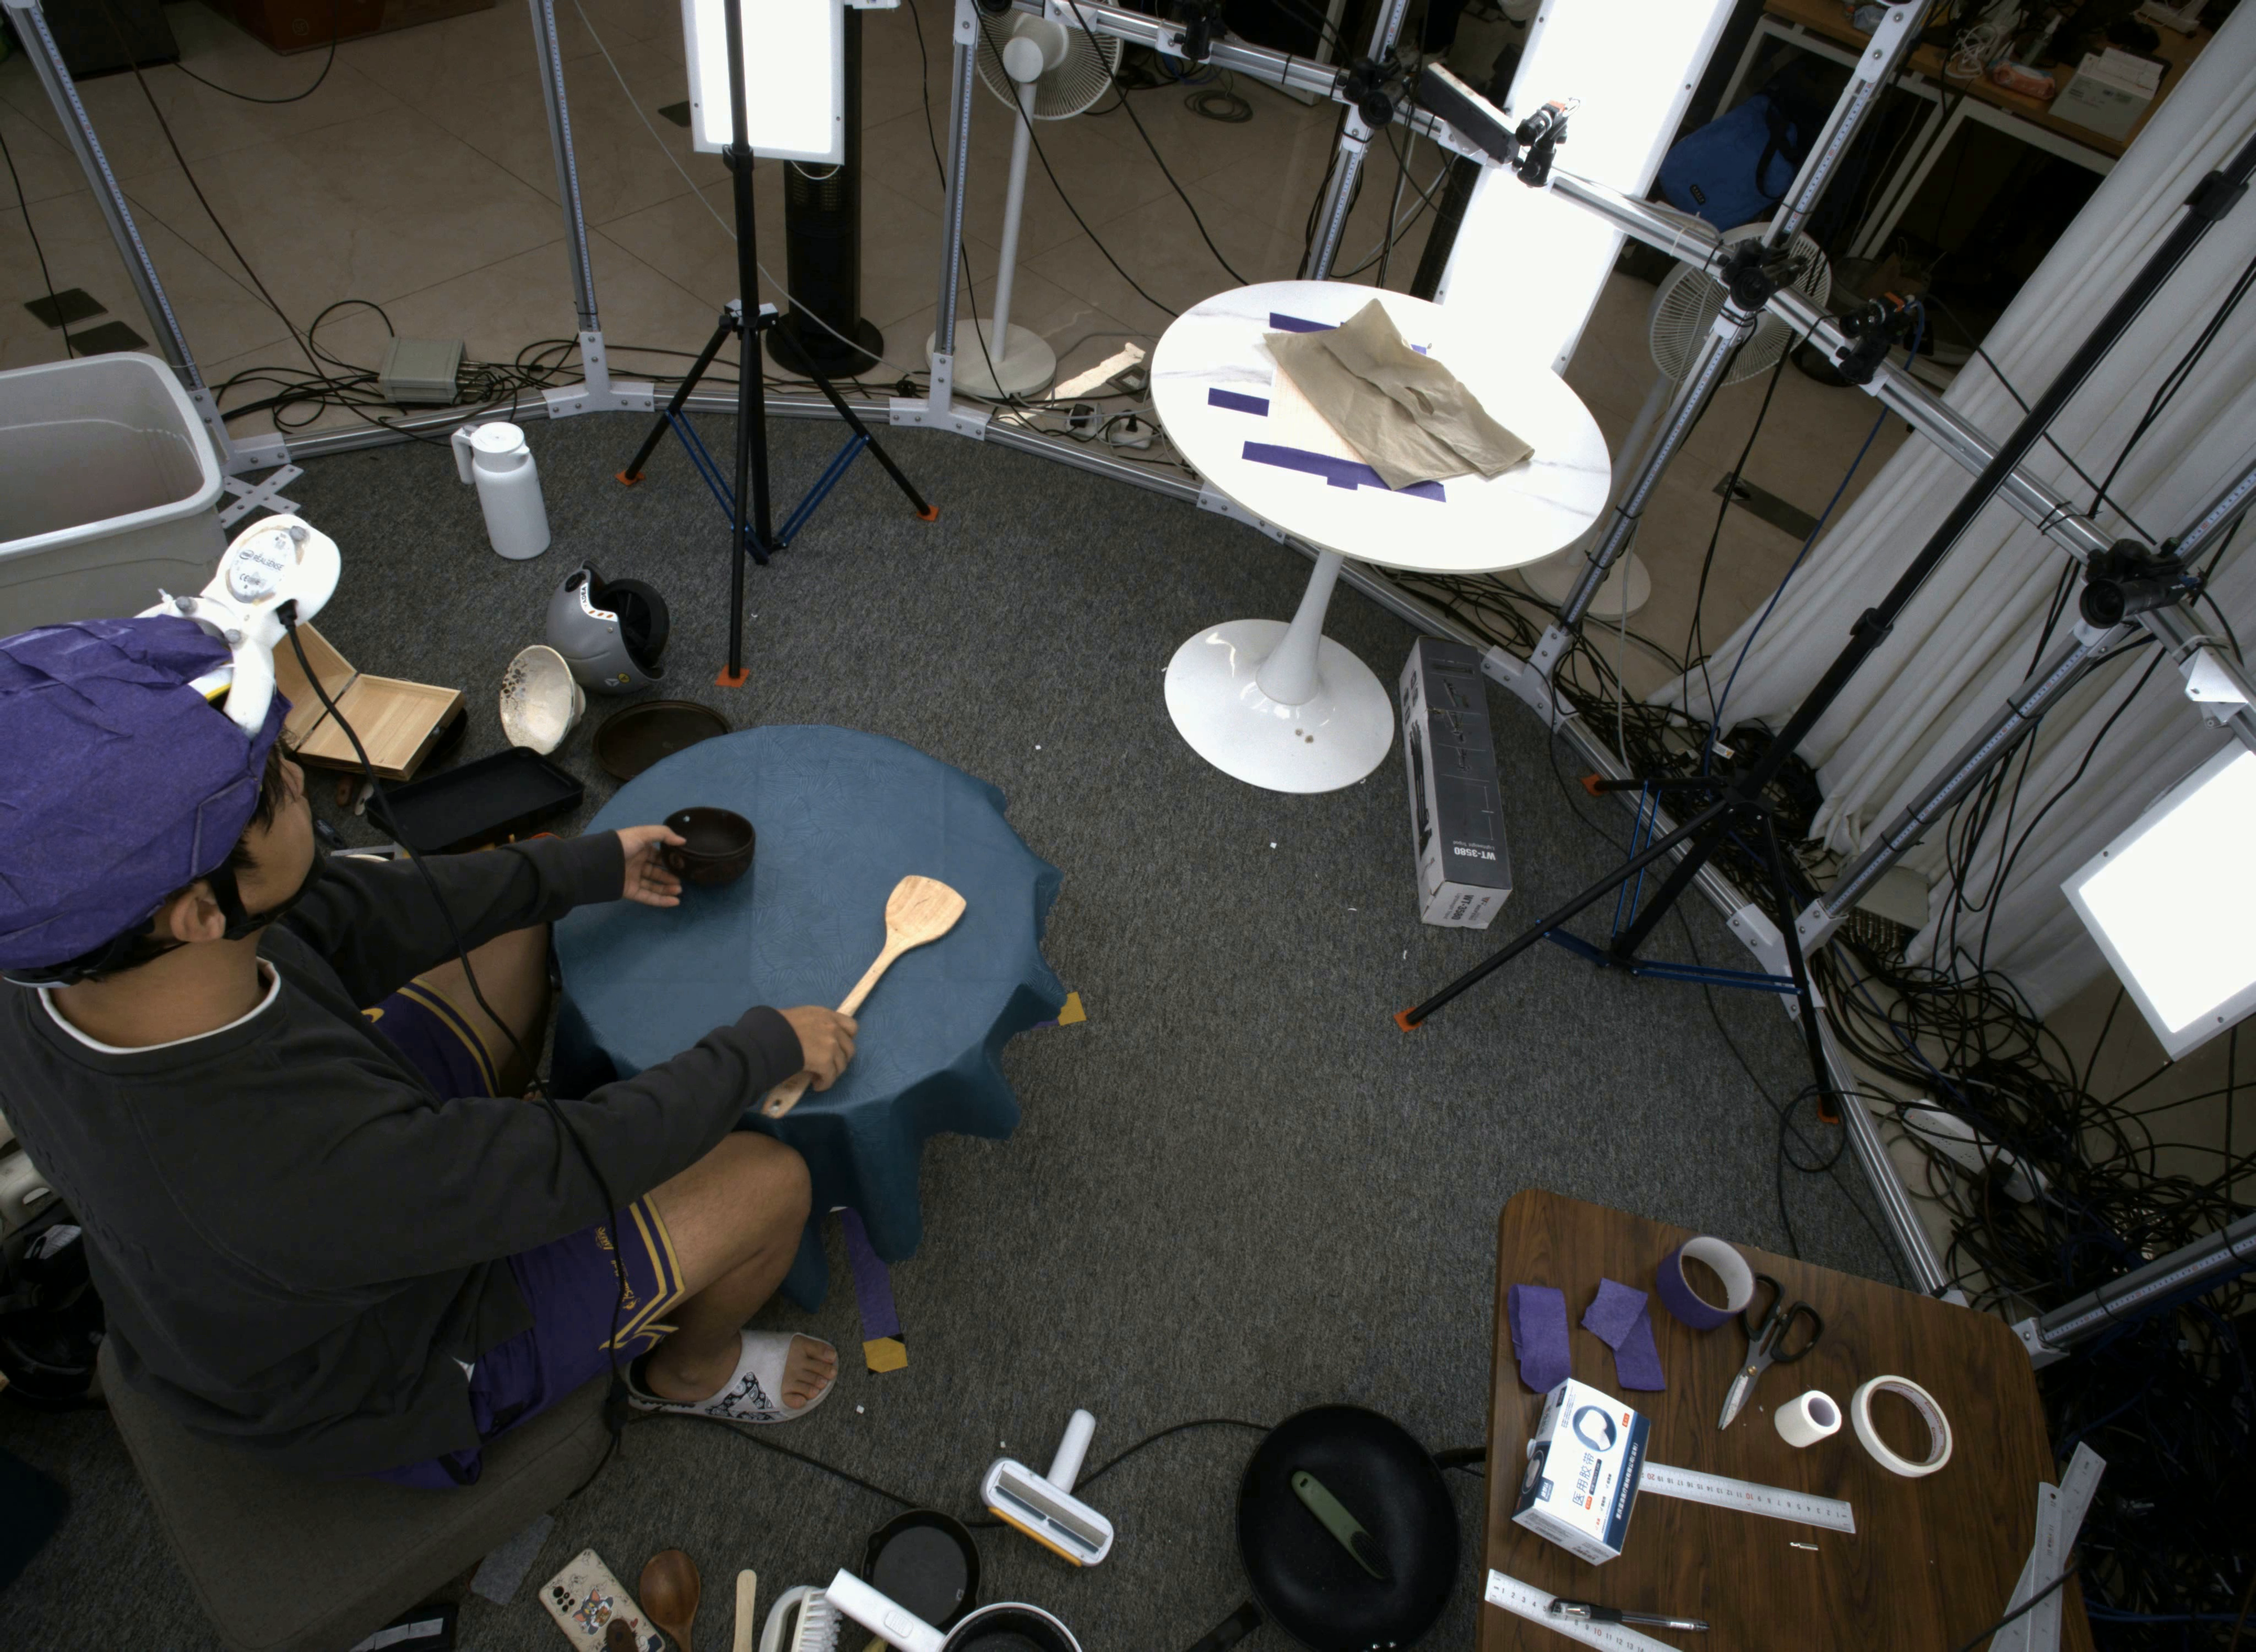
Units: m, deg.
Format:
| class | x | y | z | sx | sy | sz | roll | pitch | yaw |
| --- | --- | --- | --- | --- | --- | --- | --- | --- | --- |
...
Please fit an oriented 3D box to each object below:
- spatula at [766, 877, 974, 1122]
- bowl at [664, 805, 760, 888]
| class | x | y | z | sx | sy | sz | roll | pitch | yaw |
| --- | --- | --- | --- | --- | --- | --- | --- | --- | --- |
| spatula | -0.318 | 0.204 | 1.587 | 0.094 | 0.019 | 0.388 | 26 | 49 | 9 |
| bowl | -0.524 | 0.032 | 1.624 | 0.117 | 0.071 | 0.115 | 11 | 31 | -5 |
